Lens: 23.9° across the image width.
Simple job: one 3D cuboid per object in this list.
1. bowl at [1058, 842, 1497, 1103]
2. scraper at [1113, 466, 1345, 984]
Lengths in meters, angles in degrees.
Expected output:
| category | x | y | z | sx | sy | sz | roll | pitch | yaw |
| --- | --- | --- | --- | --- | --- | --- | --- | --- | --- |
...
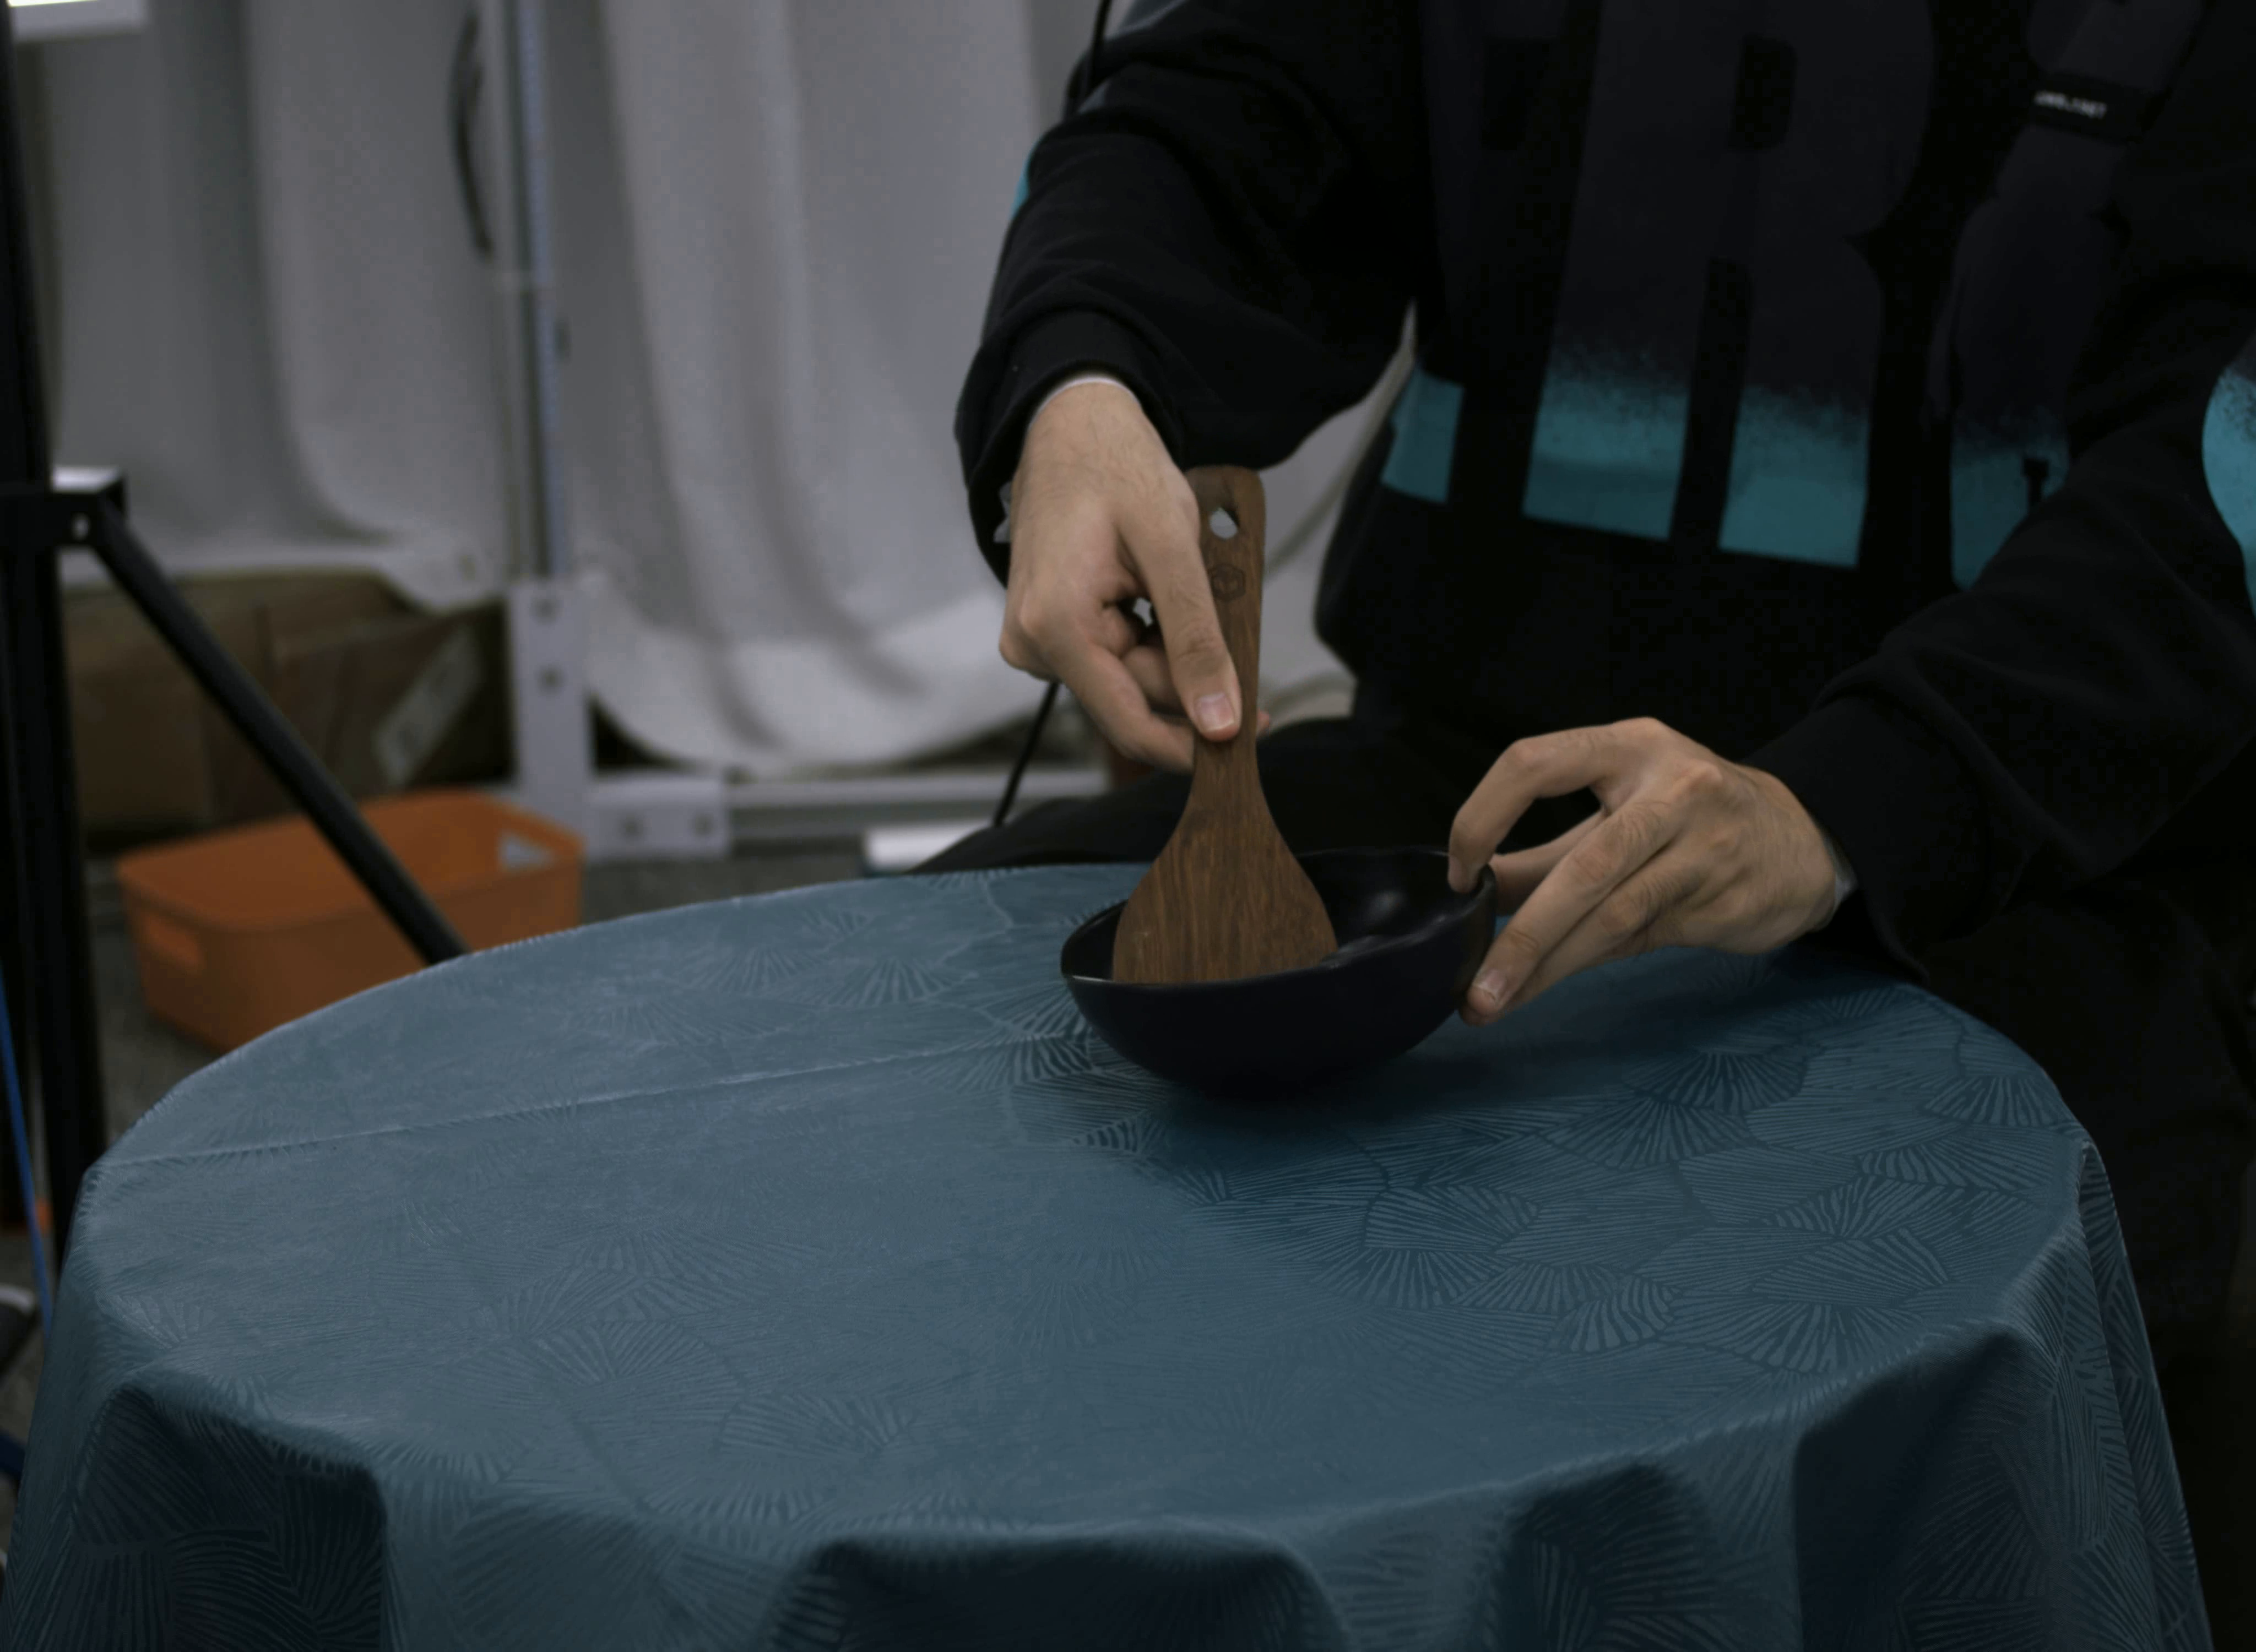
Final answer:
| category | x | y | z | sx | sy | sz | roll | pitch | yaw |
| --- | --- | --- | --- | --- | --- | --- | --- | --- | --- |
| bowl | 0.051 | 0.051 | 1.641 | 0.139 | 0.049 | 0.140 | -14 | 13 | 2 |
| scraper | 0.031 | -0.020 | 1.675 | 0.075 | 0.213 | 0.011 | 2 | -26 | -5 |
